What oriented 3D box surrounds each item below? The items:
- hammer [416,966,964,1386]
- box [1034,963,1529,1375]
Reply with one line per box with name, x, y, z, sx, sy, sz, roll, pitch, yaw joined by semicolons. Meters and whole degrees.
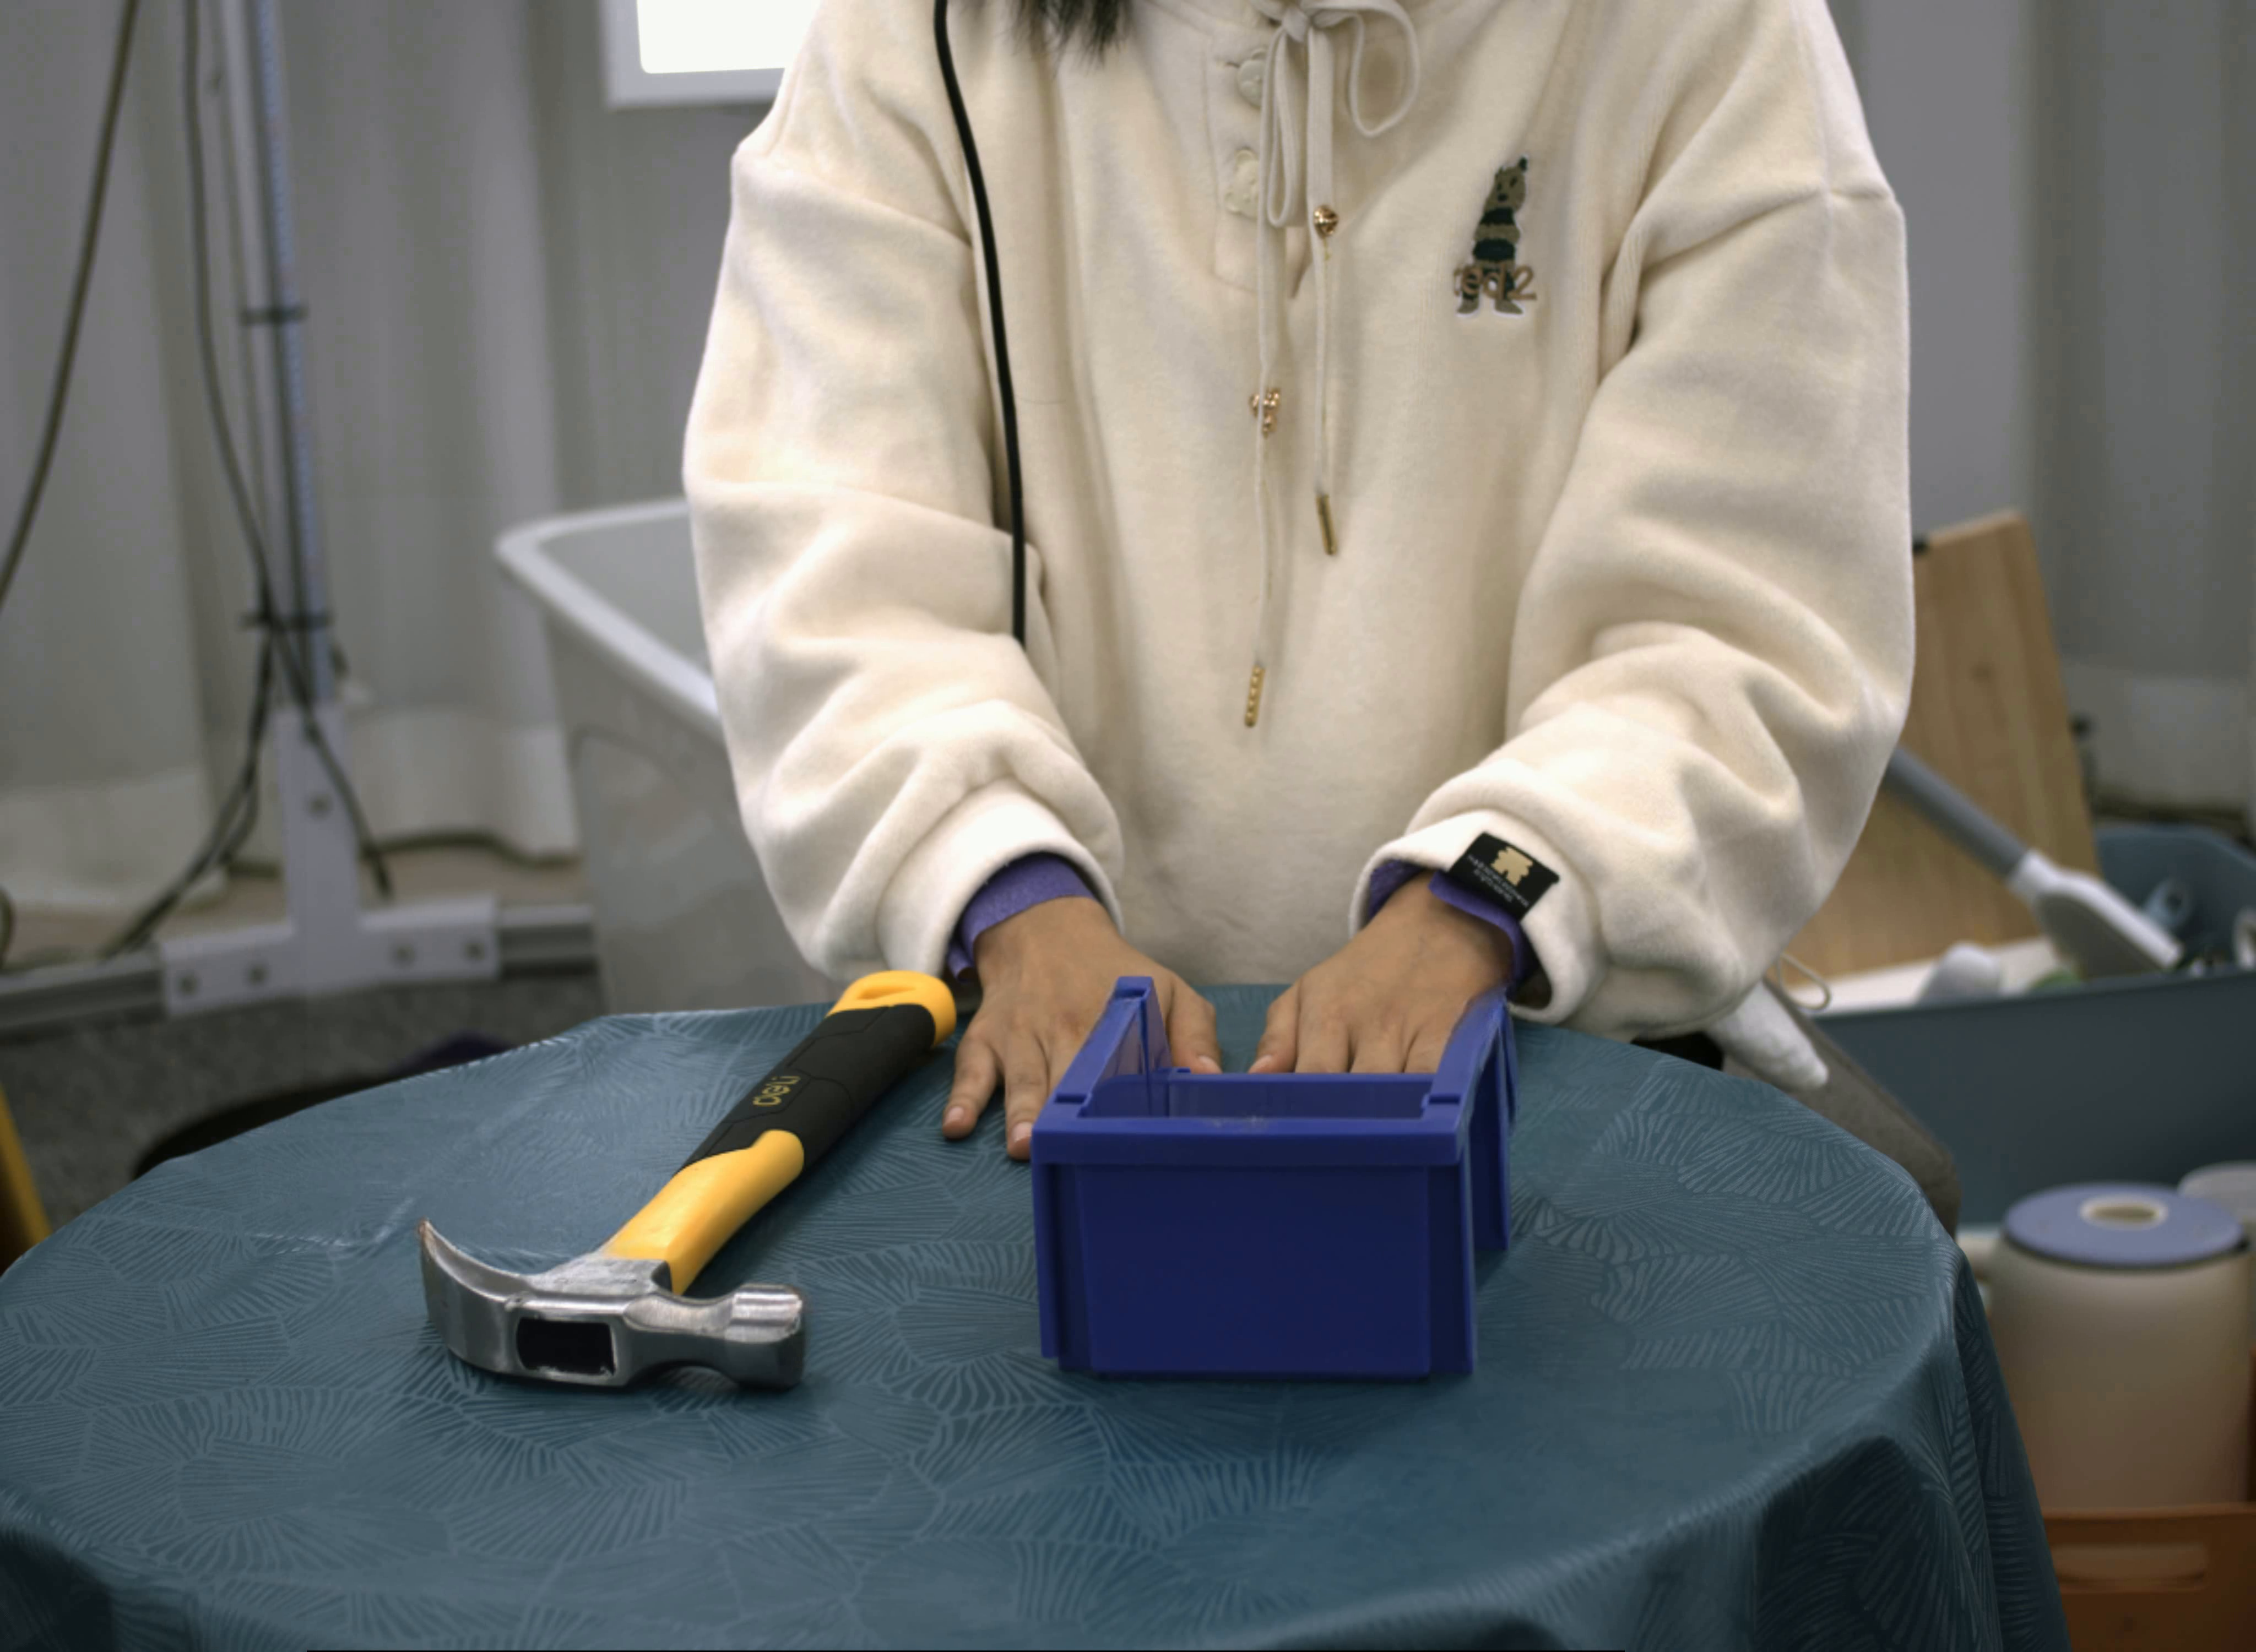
hammer;-0.118;0.103;1.716;0.131;0.032;0.340;0;15;16
box;0.047;0.096;1.617;0.124;0.081;0.180;0;17;11
